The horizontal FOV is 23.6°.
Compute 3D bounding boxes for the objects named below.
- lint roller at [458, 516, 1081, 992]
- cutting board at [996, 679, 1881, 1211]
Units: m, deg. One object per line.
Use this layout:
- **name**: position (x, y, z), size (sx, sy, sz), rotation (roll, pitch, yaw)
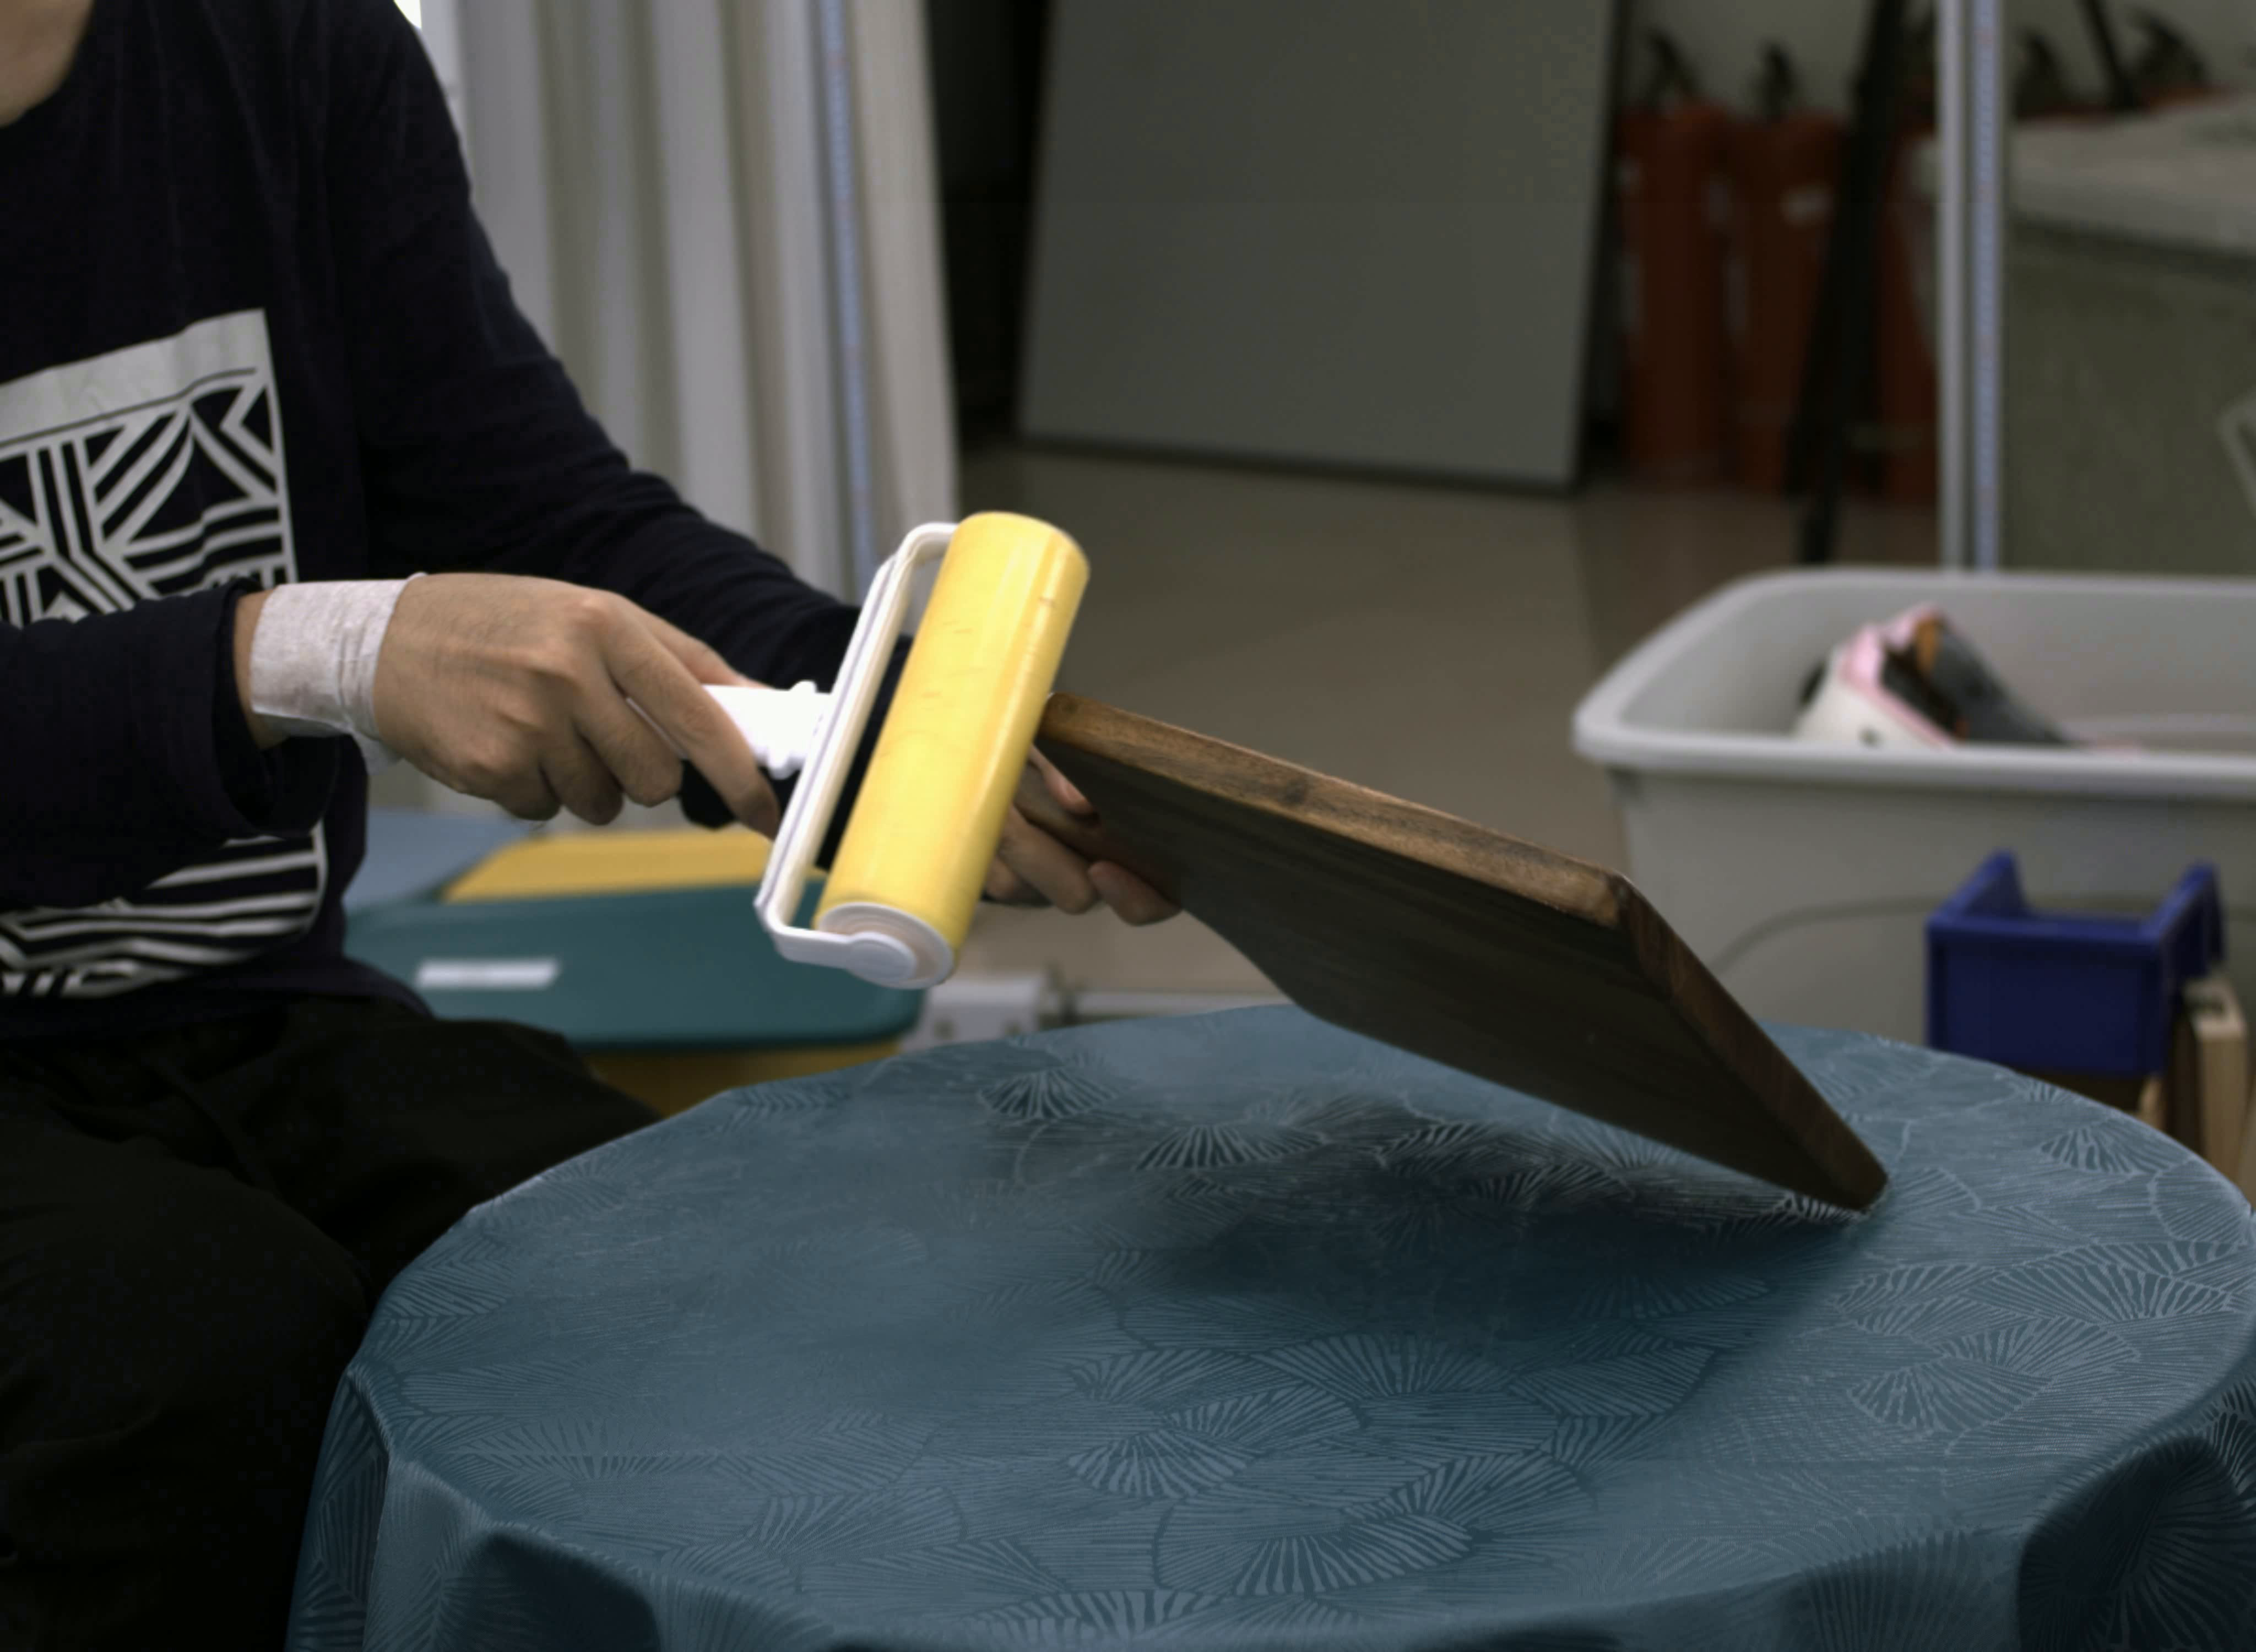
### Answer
- **lint roller**: position (-0.125, -0.036, 1.732), size (0.191, 0.051, 0.175), rotation (10, 52, 10)
- **cutting board**: position (0.069, 0.026, 1.750), size (0.355, 0.023, 0.198), rotation (18, -20, 44)
